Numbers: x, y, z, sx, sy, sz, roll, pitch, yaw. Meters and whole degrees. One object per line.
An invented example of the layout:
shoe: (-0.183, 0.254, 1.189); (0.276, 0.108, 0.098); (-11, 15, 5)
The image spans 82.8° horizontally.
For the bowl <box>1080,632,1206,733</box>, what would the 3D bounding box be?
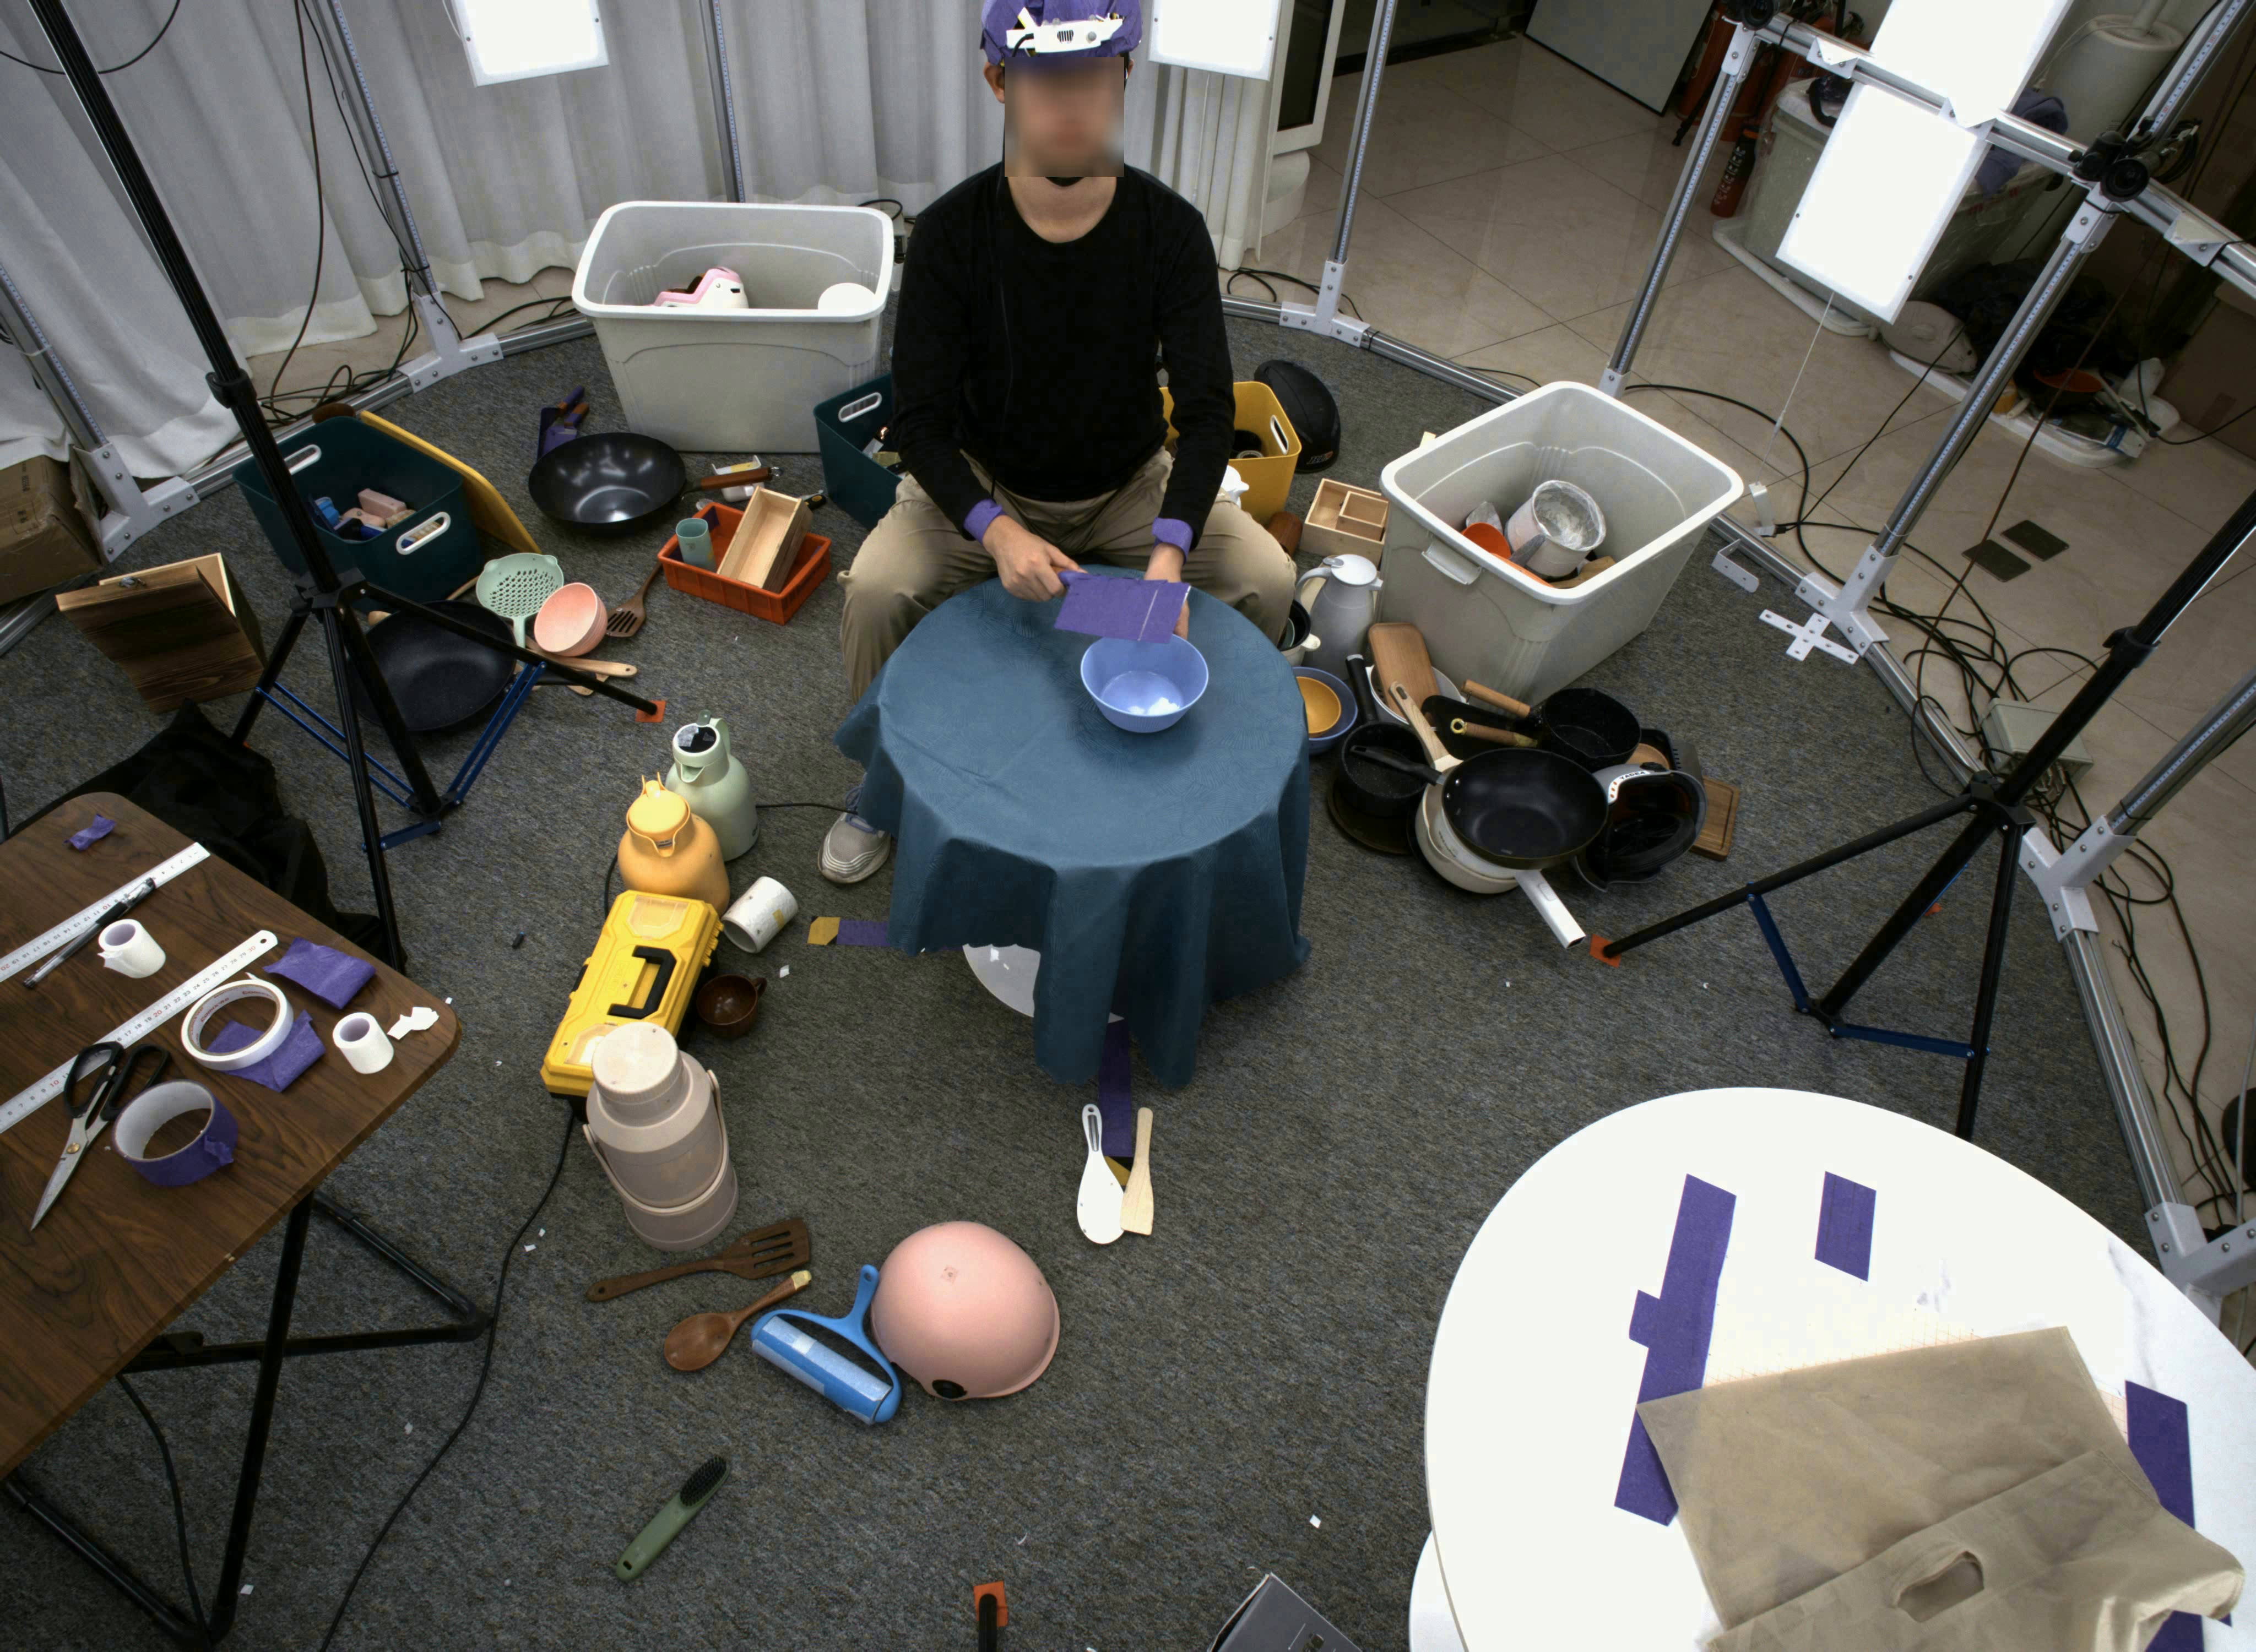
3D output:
bowl: (0.018, -0.193, 1.792); (0.176, 0.068, 0.180); (3, 48, -3)

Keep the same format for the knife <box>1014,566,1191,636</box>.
knife: (-0.052, -0.317, 1.803); (0.318, 0.031, 0.105); (13, 75, 40)
